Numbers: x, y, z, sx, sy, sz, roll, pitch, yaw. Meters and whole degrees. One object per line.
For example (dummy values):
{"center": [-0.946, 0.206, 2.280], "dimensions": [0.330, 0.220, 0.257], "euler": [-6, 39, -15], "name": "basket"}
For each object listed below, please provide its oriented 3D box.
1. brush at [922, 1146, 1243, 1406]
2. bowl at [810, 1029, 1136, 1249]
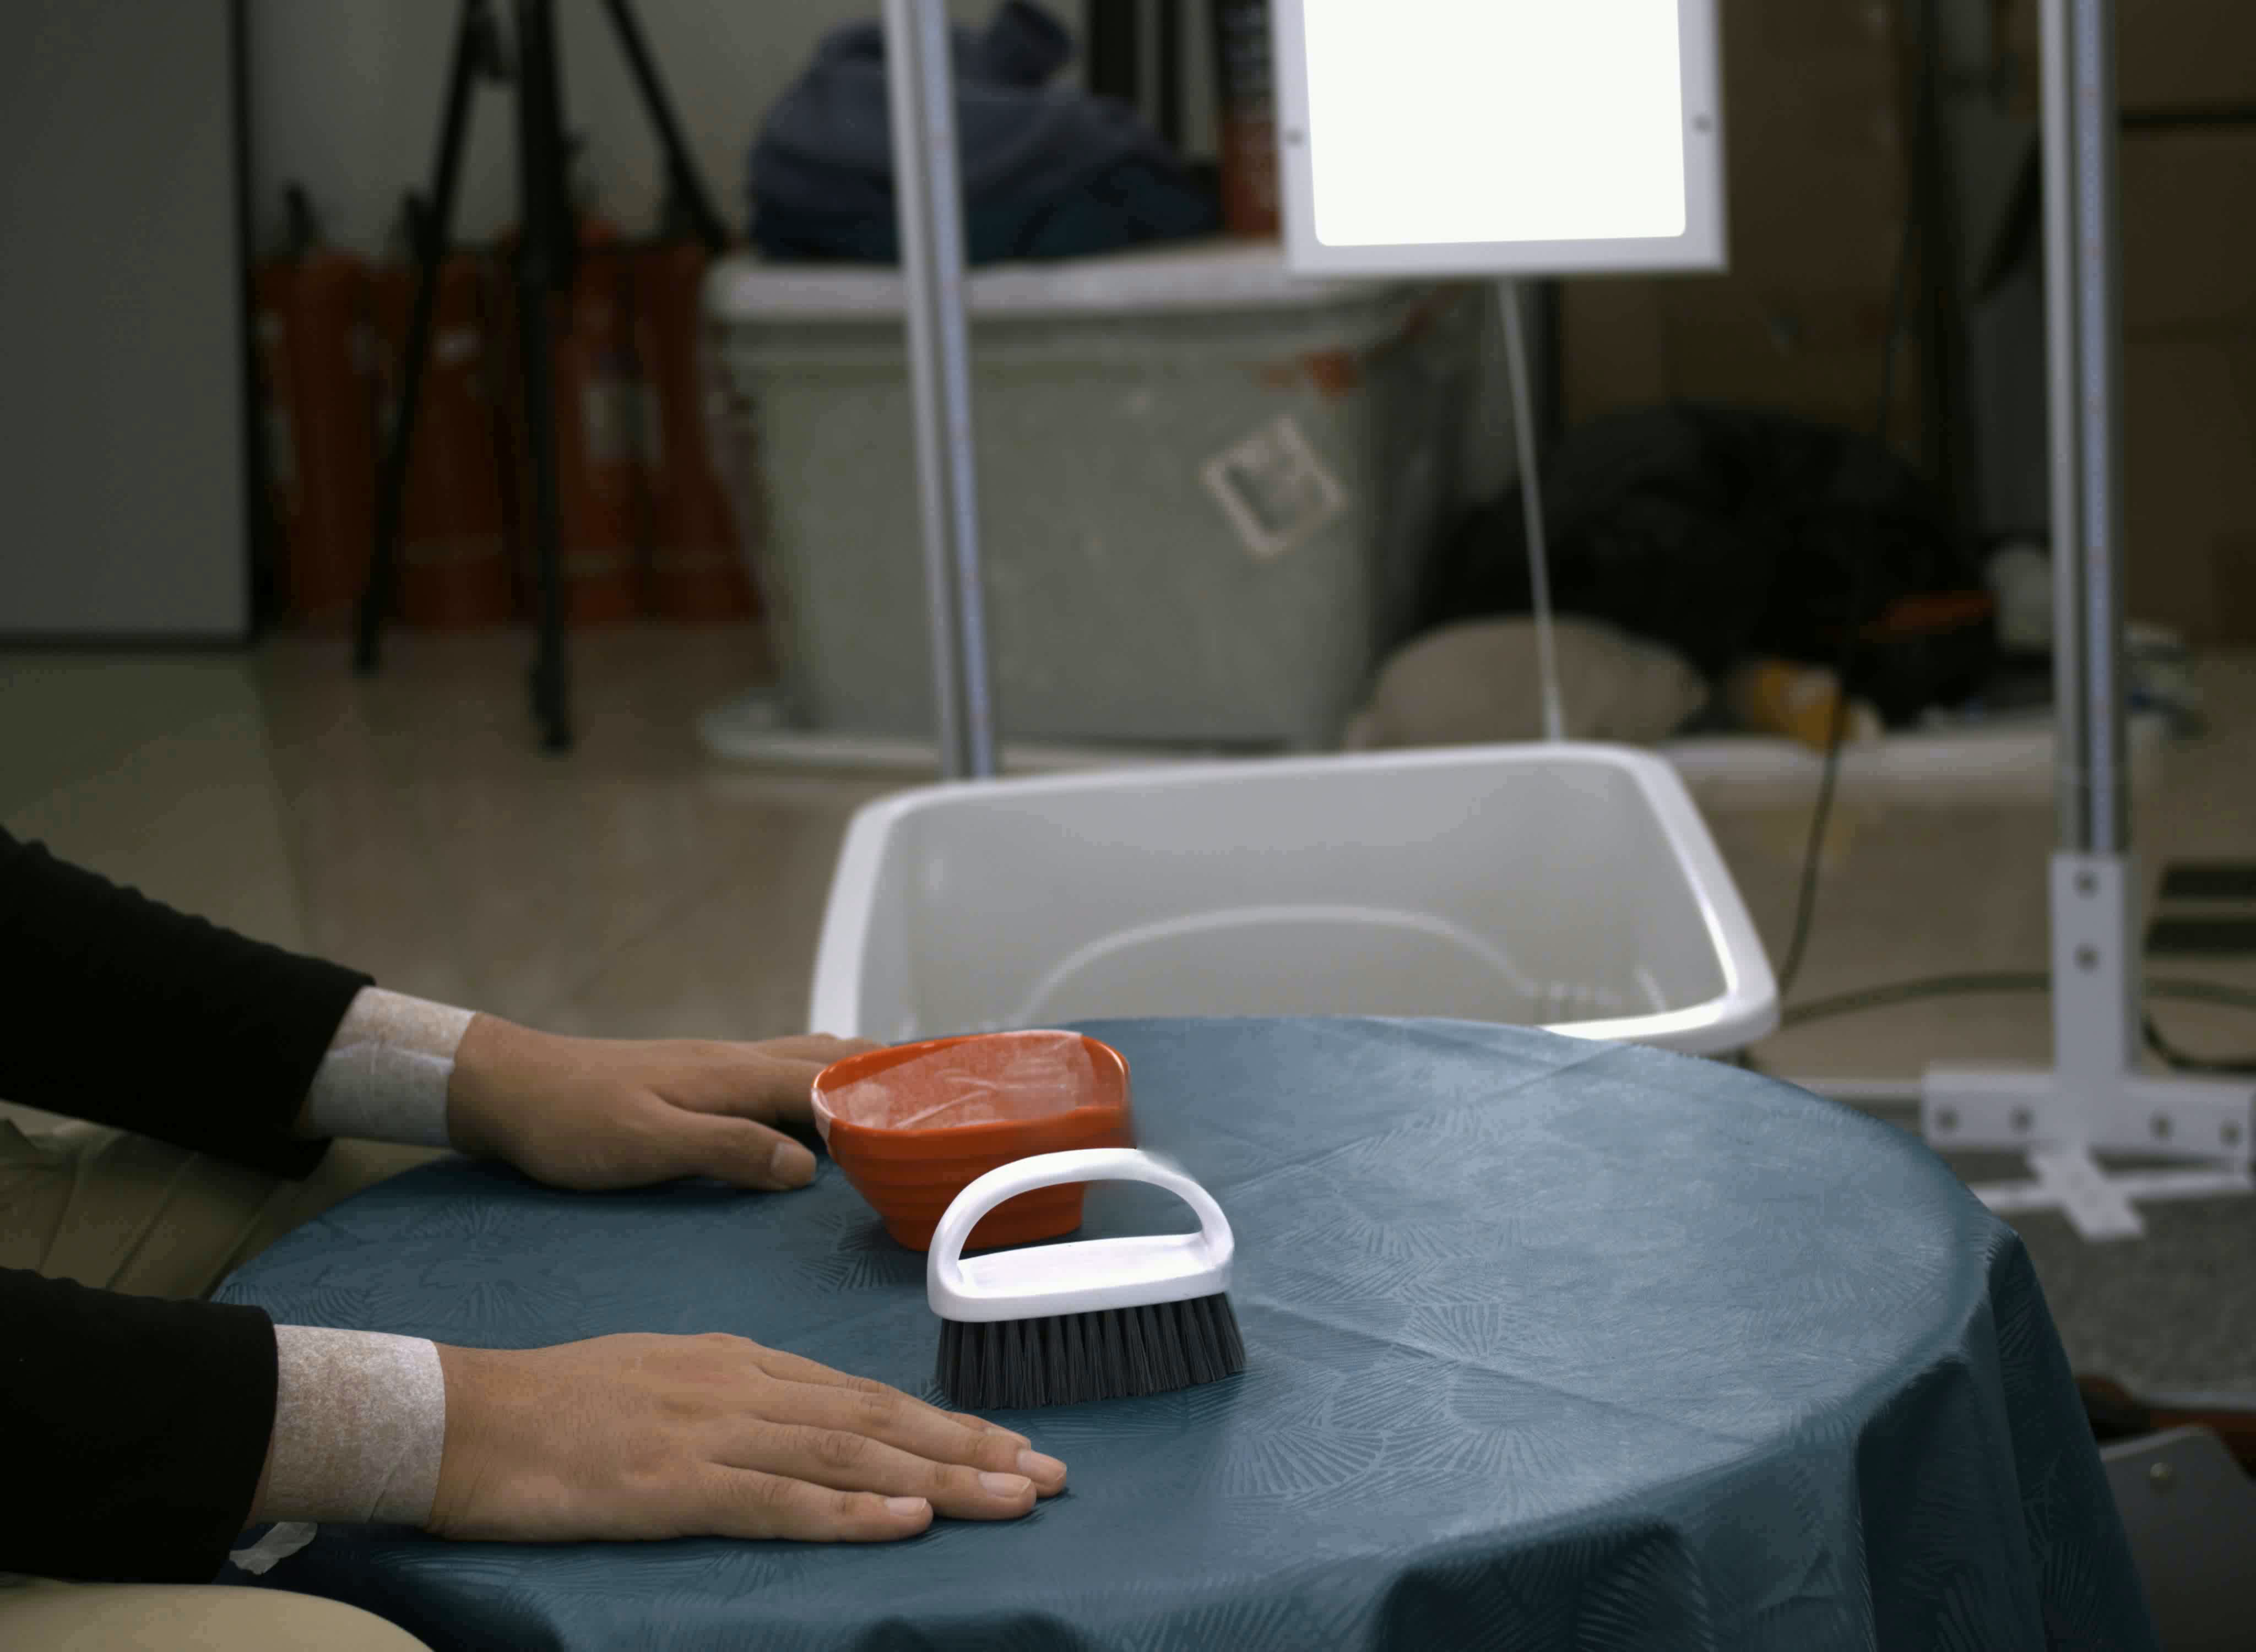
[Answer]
{"center": [-0.016, 0.136, 1.711], "dimensions": [0.099, 0.073, 0.050], "euler": [-6, 15, -2], "name": "brush"}
{"center": [-0.052, 0.109, 1.878], "dimensions": [0.118, 0.051, 0.119], "euler": [-2, 15, -1], "name": "bowl"}
